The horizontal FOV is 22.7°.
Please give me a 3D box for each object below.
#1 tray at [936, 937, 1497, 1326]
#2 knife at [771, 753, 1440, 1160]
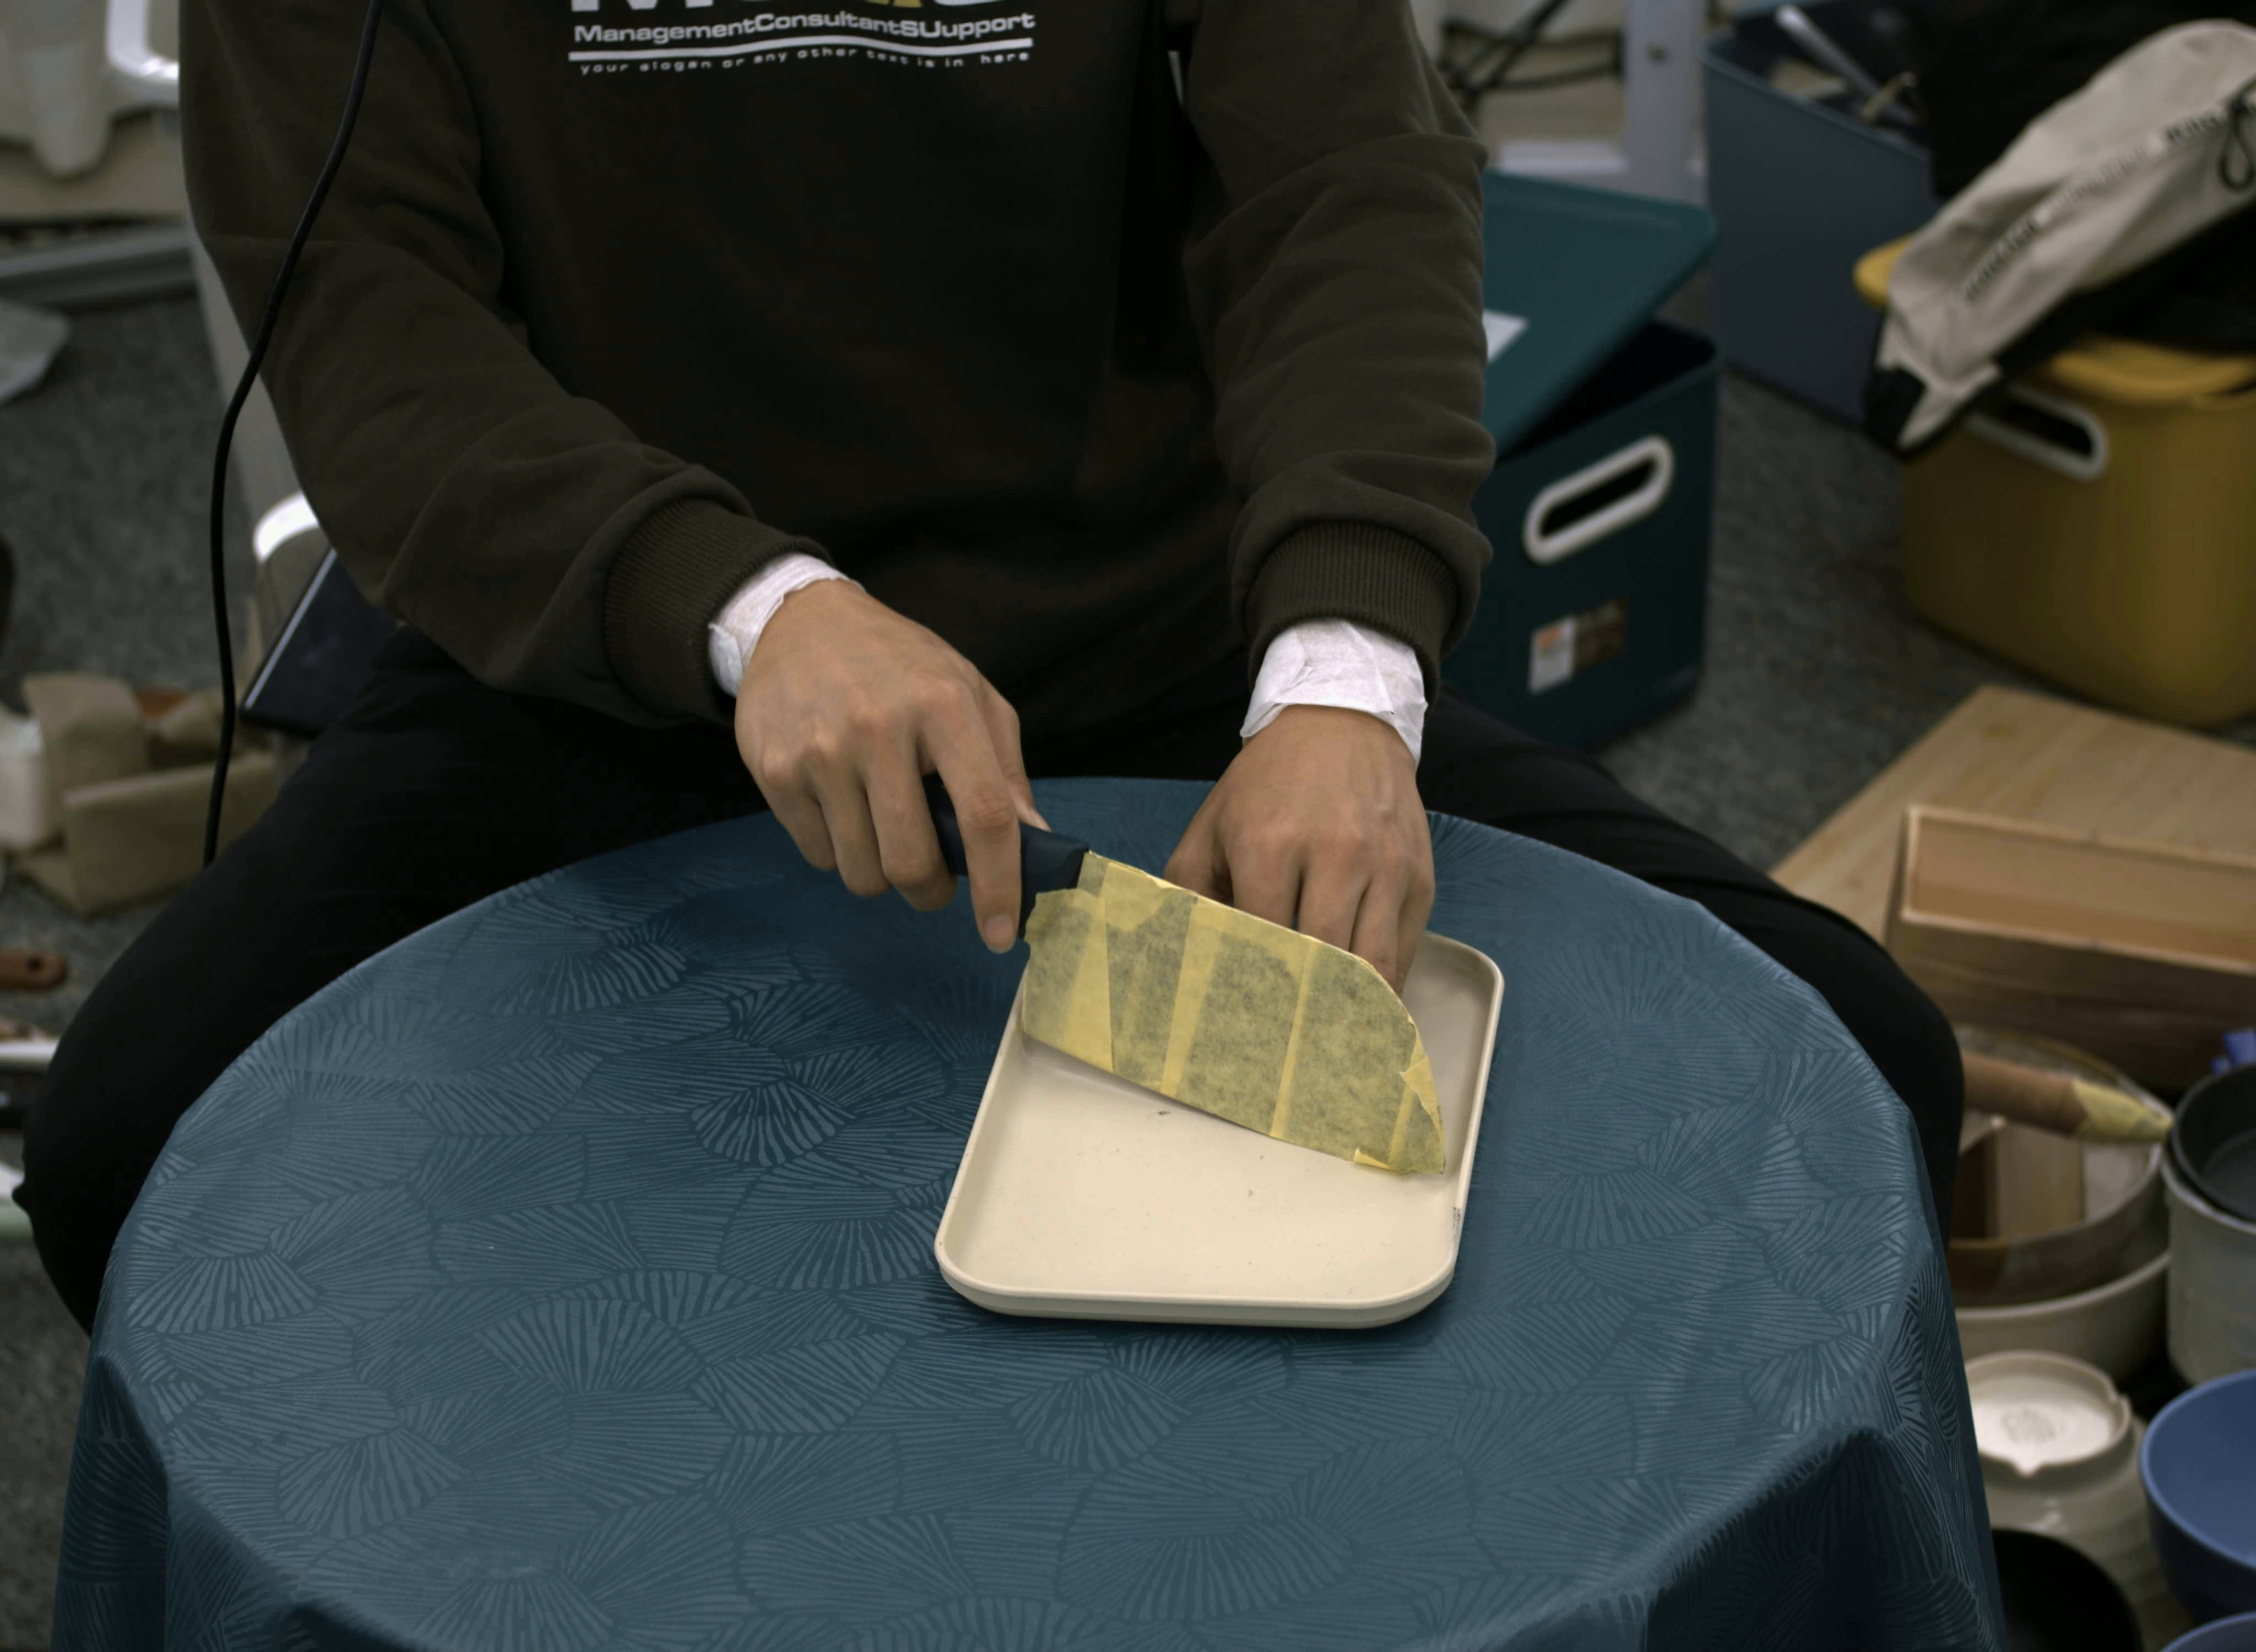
[{"bbox_3d":[0.033,0.101,1.880,0.170,0.017,0.243,1,27,8],"label":"tray"},{"bbox_3d":[-0.011,0.042,1.916,0.289,0.080,0.027,25,17,30],"label":"knife"}]
